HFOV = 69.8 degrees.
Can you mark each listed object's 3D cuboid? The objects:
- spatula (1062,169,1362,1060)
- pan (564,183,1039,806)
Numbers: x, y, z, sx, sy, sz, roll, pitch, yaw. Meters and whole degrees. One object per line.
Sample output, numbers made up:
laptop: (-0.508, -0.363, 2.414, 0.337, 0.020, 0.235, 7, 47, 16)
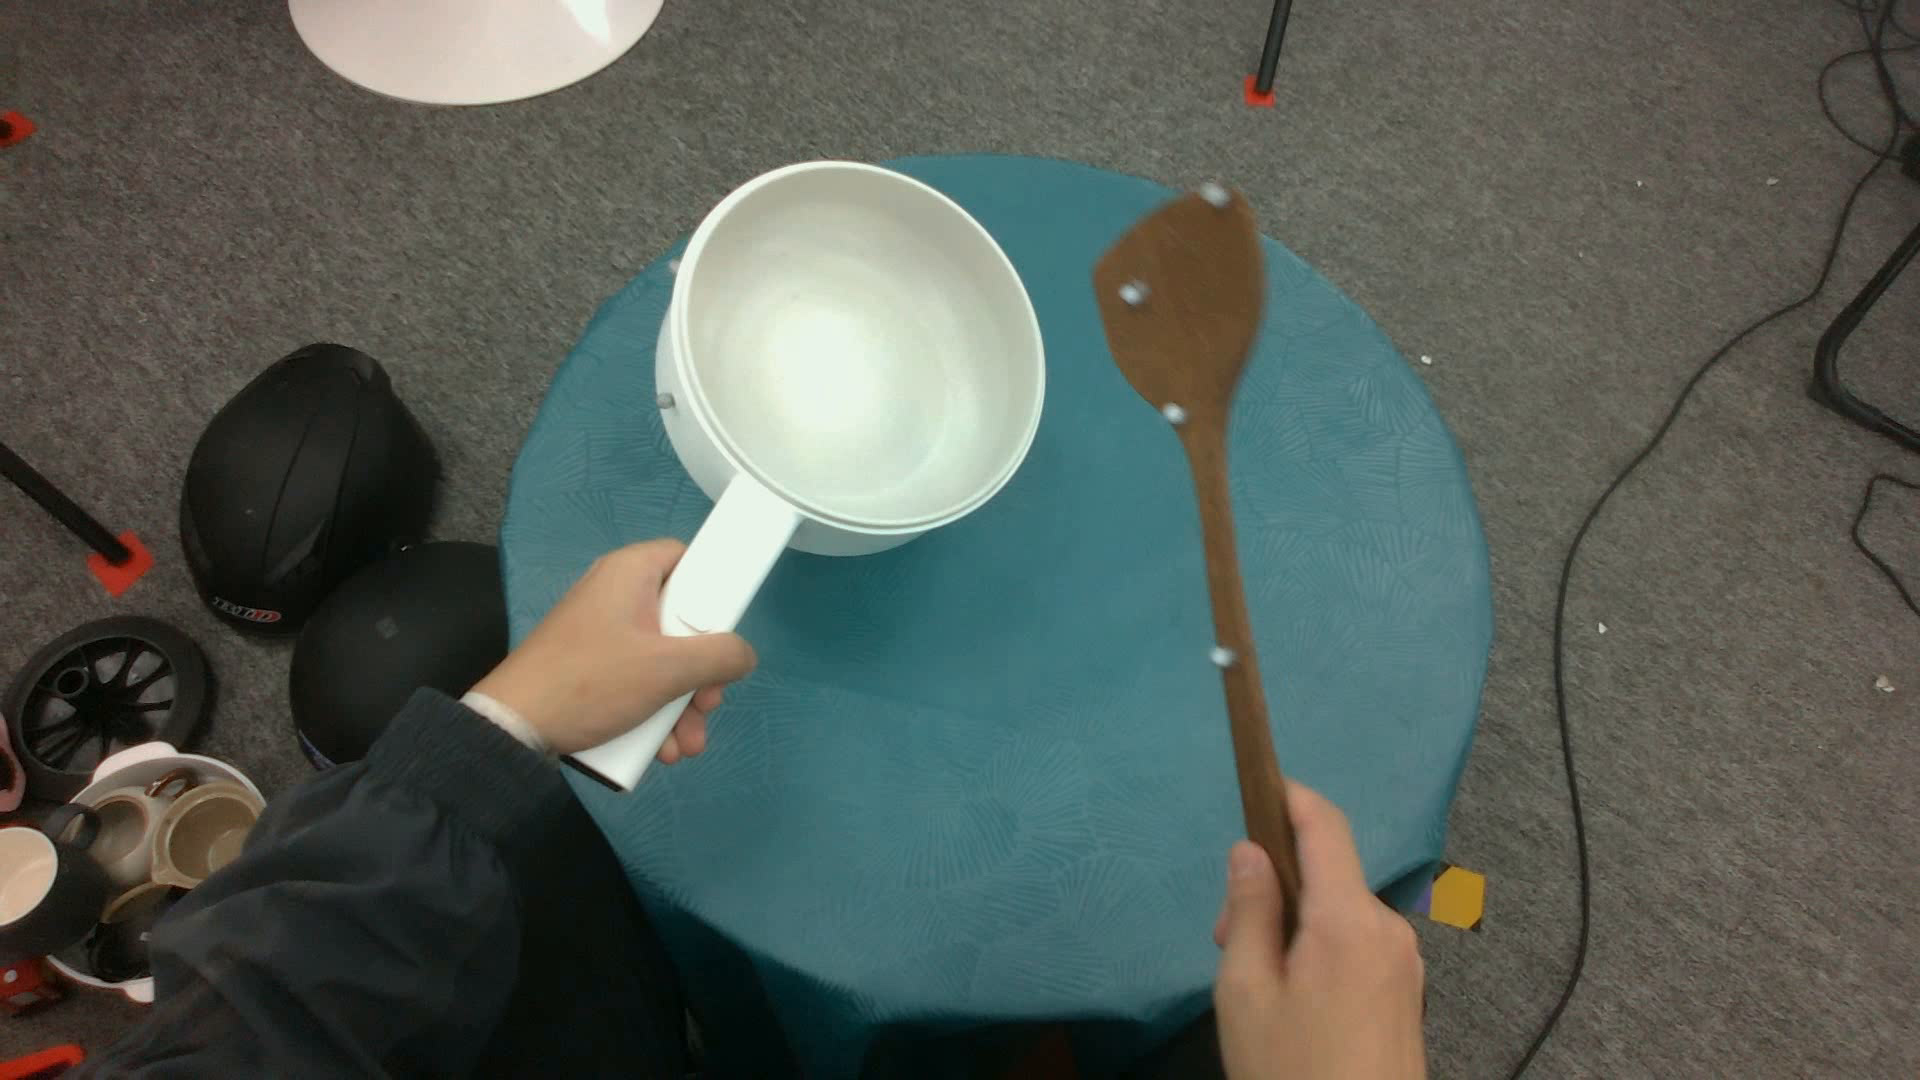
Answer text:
spatula: (0.112, 0.025, 0.593, 0.016, 0.095, 0.386, -5, 75, -31)
pan: (-0.099, -0.022, 0.734, 0.201, 0.101, 0.356, 33, 67, -13)
